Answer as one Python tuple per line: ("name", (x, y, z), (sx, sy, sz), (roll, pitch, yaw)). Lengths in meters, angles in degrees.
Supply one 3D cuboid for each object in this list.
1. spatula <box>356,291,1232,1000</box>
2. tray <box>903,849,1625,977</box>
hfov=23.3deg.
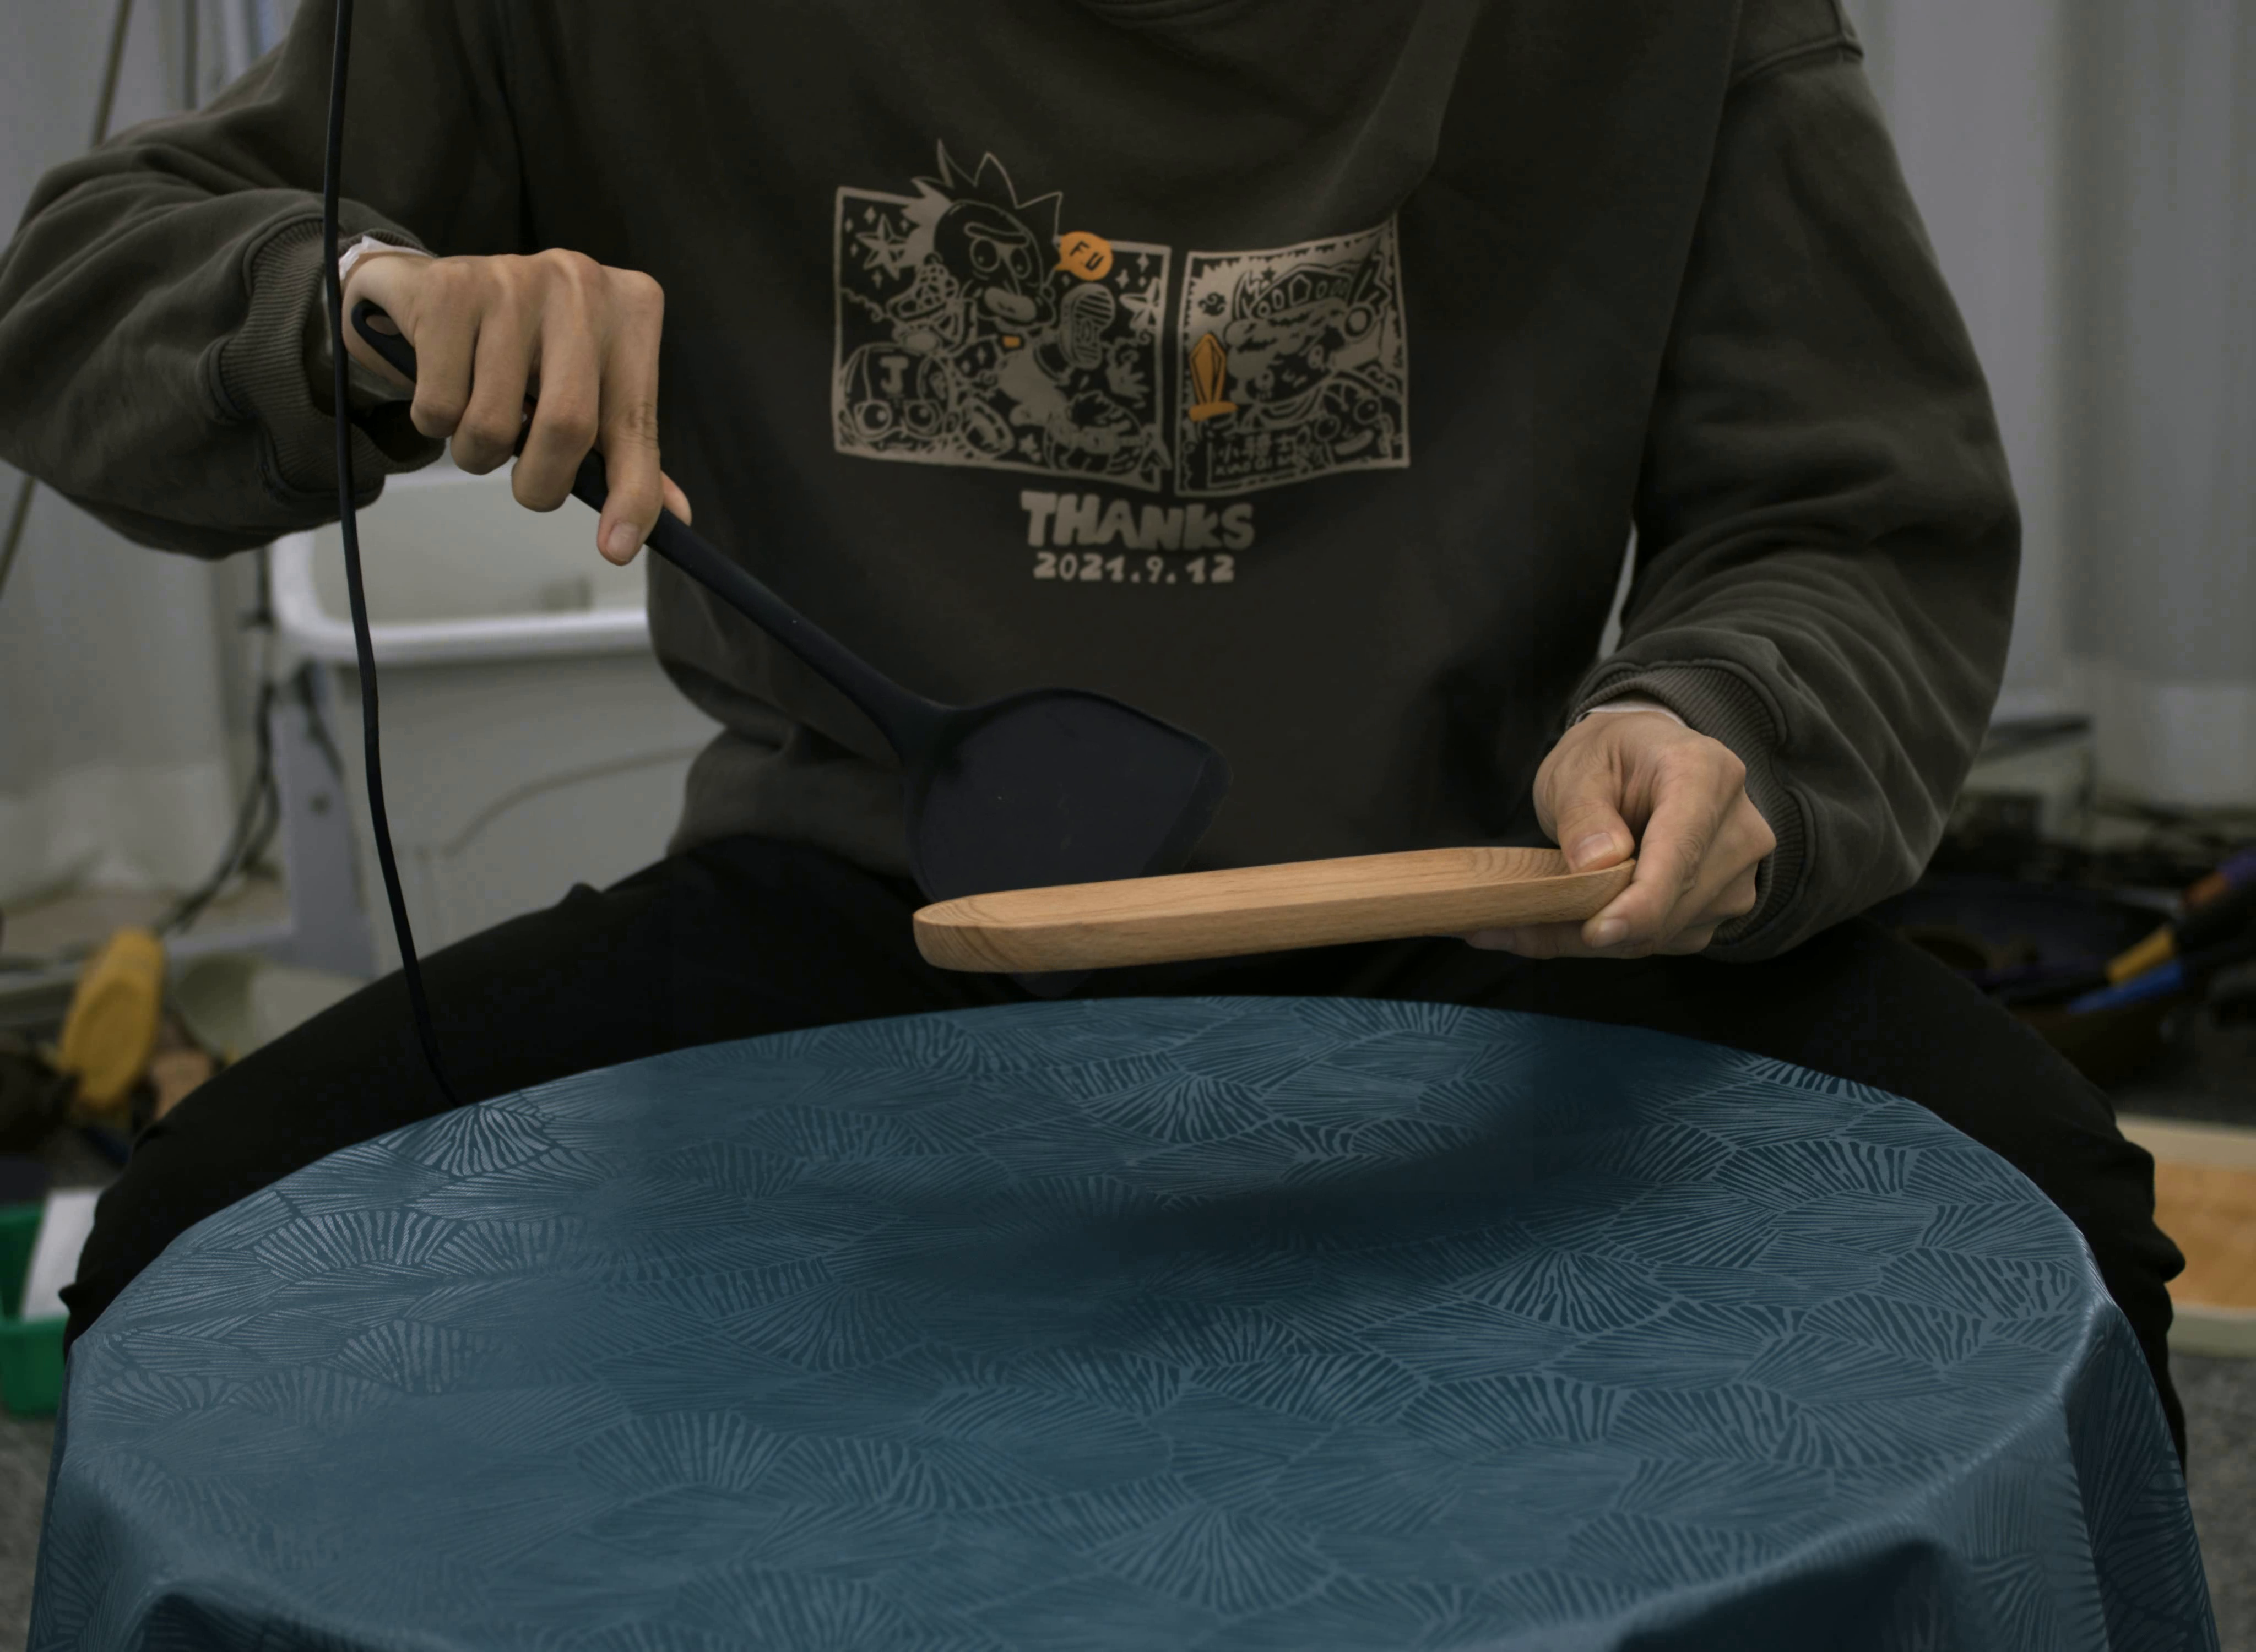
("spatula", (-0.118, -0.073, 1.740), (0.326, 0.100, 0.040), (38, -12, 5))
("tray", (0.043, 0.026, 1.665), (0.230, 0.020, 0.102), (-7, 6, -22))
